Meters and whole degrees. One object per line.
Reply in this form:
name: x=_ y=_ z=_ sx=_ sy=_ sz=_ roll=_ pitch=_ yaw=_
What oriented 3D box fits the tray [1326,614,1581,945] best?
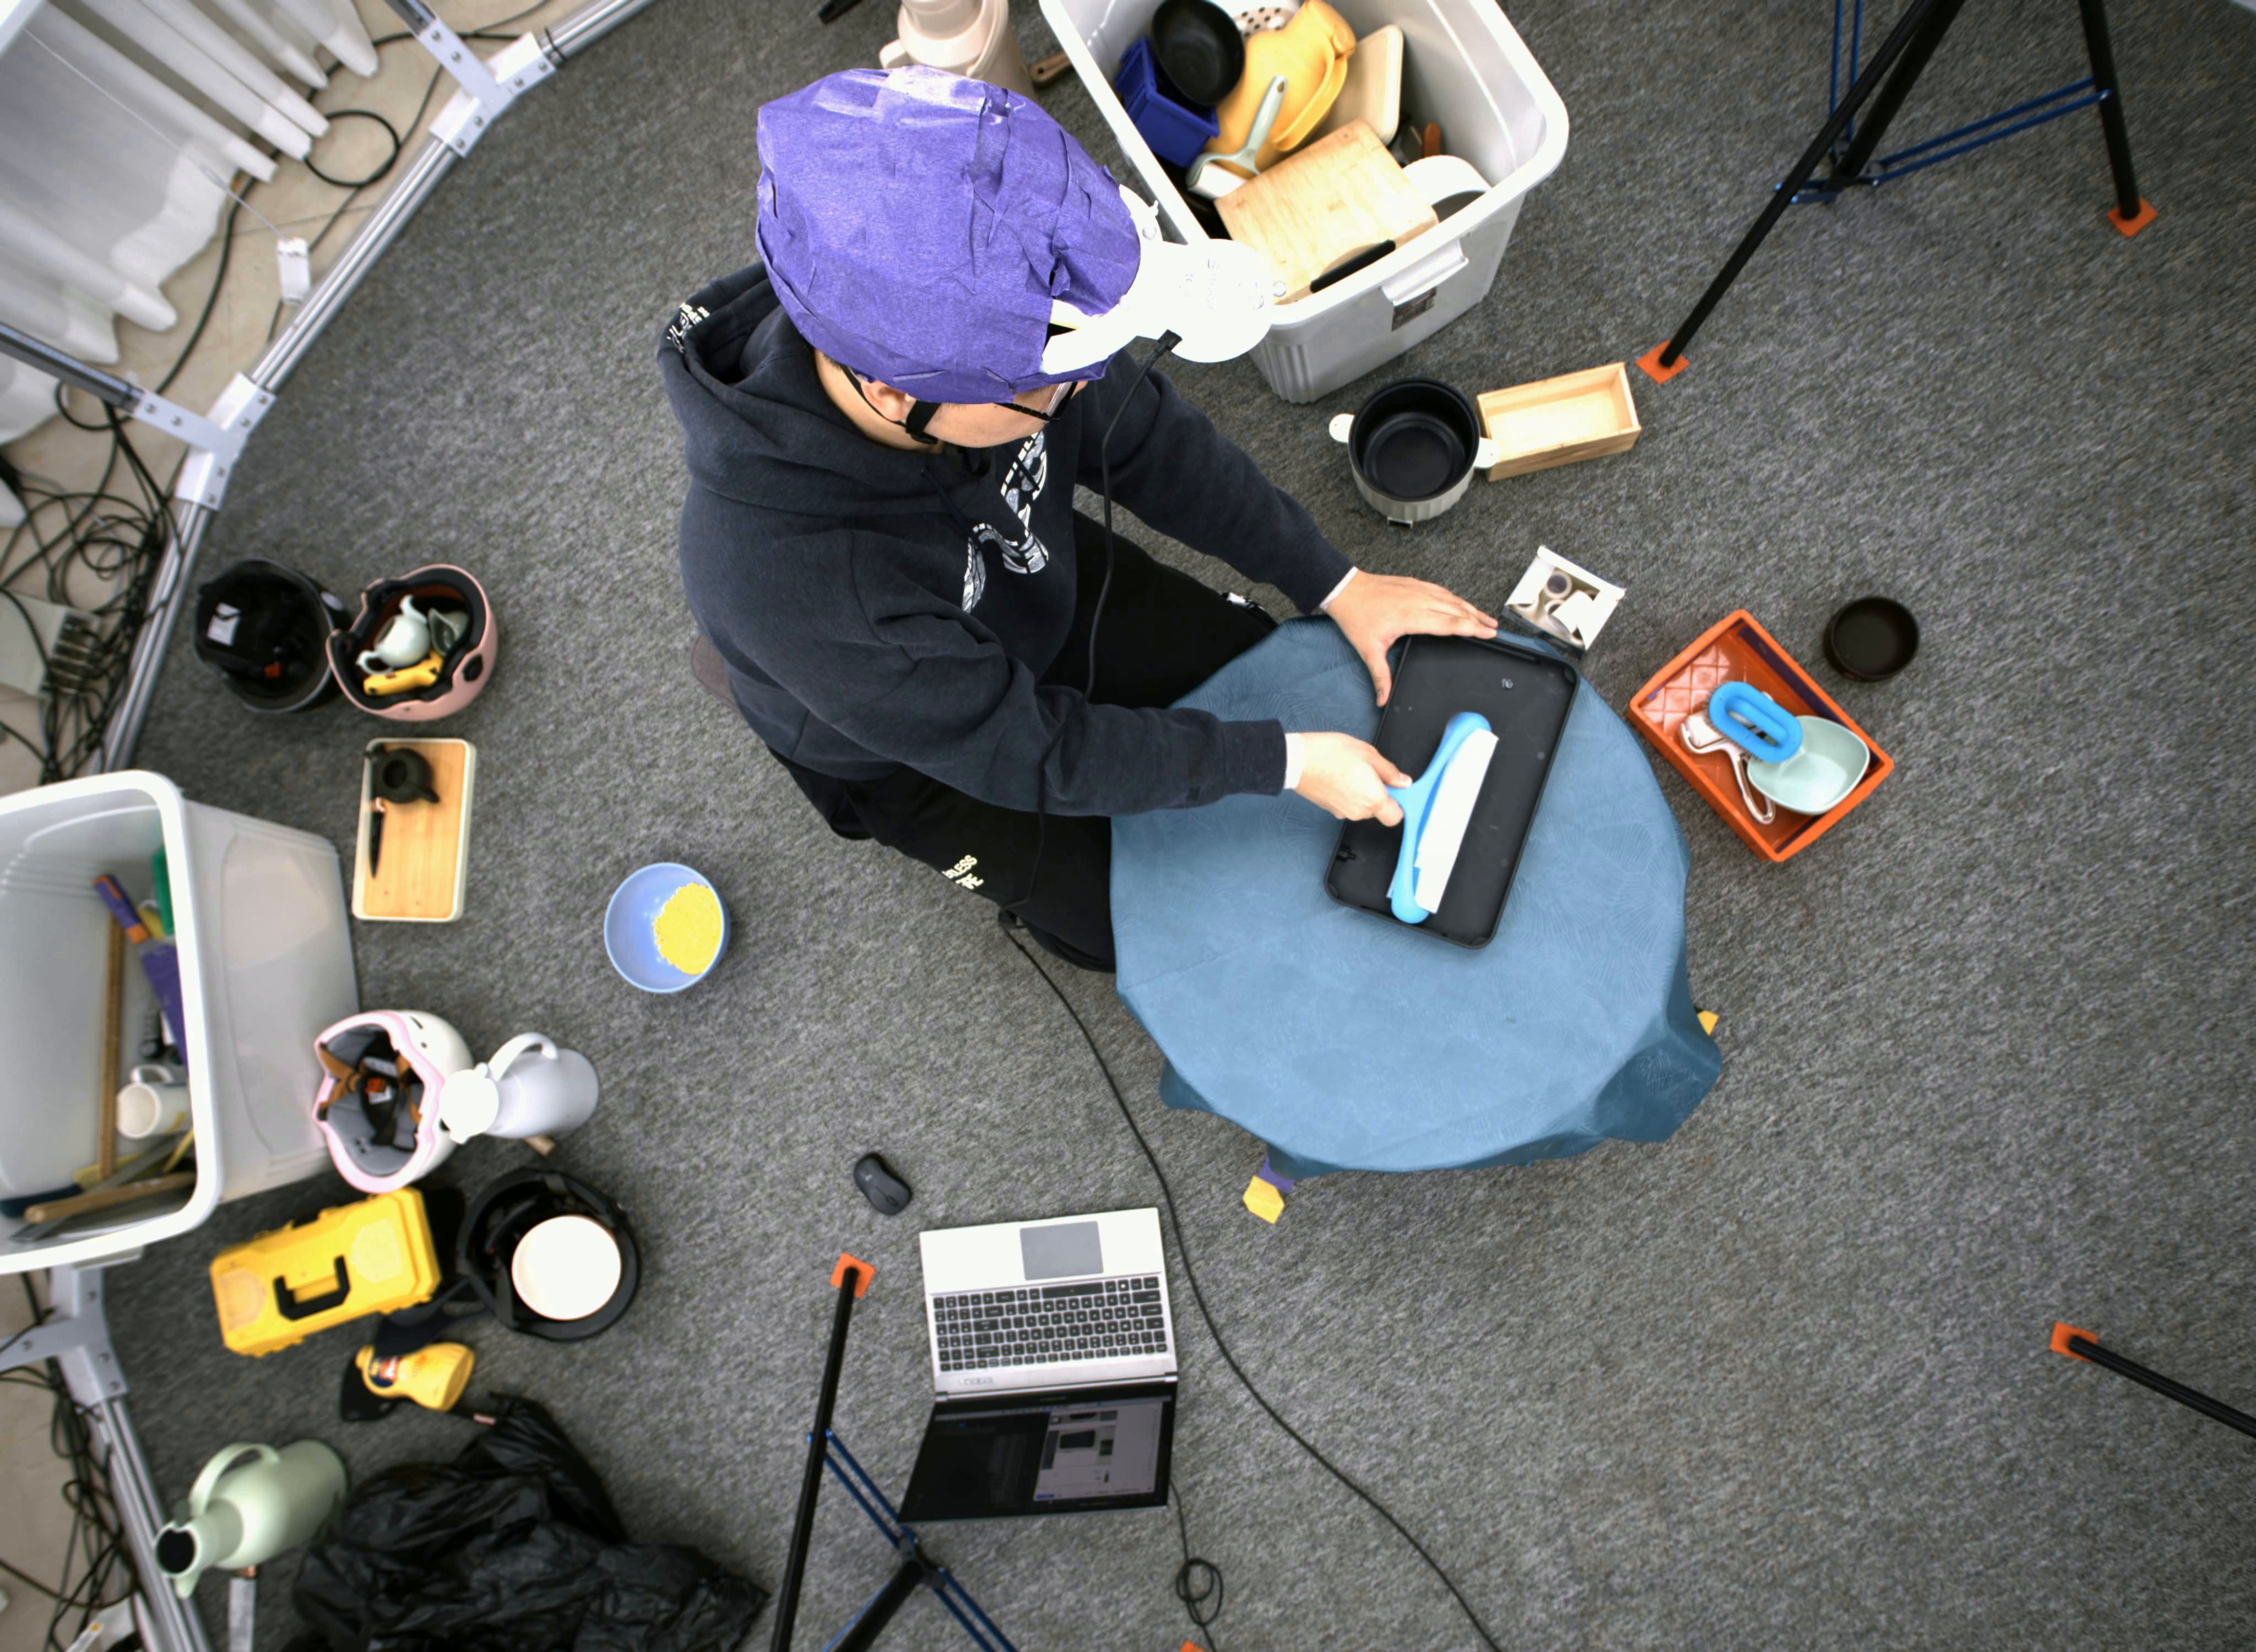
tray: x=0.340 y=-0.051 z=1.440 sx=0.184 sy=0.037 sz=0.318 roll=19 pitch=92 yaw=12

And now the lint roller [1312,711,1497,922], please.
lint roller: x=0.274 y=-0.029 z=1.400 sx=0.180 sy=0.068 sz=0.229 roll=19 pitch=92 yaw=-23
